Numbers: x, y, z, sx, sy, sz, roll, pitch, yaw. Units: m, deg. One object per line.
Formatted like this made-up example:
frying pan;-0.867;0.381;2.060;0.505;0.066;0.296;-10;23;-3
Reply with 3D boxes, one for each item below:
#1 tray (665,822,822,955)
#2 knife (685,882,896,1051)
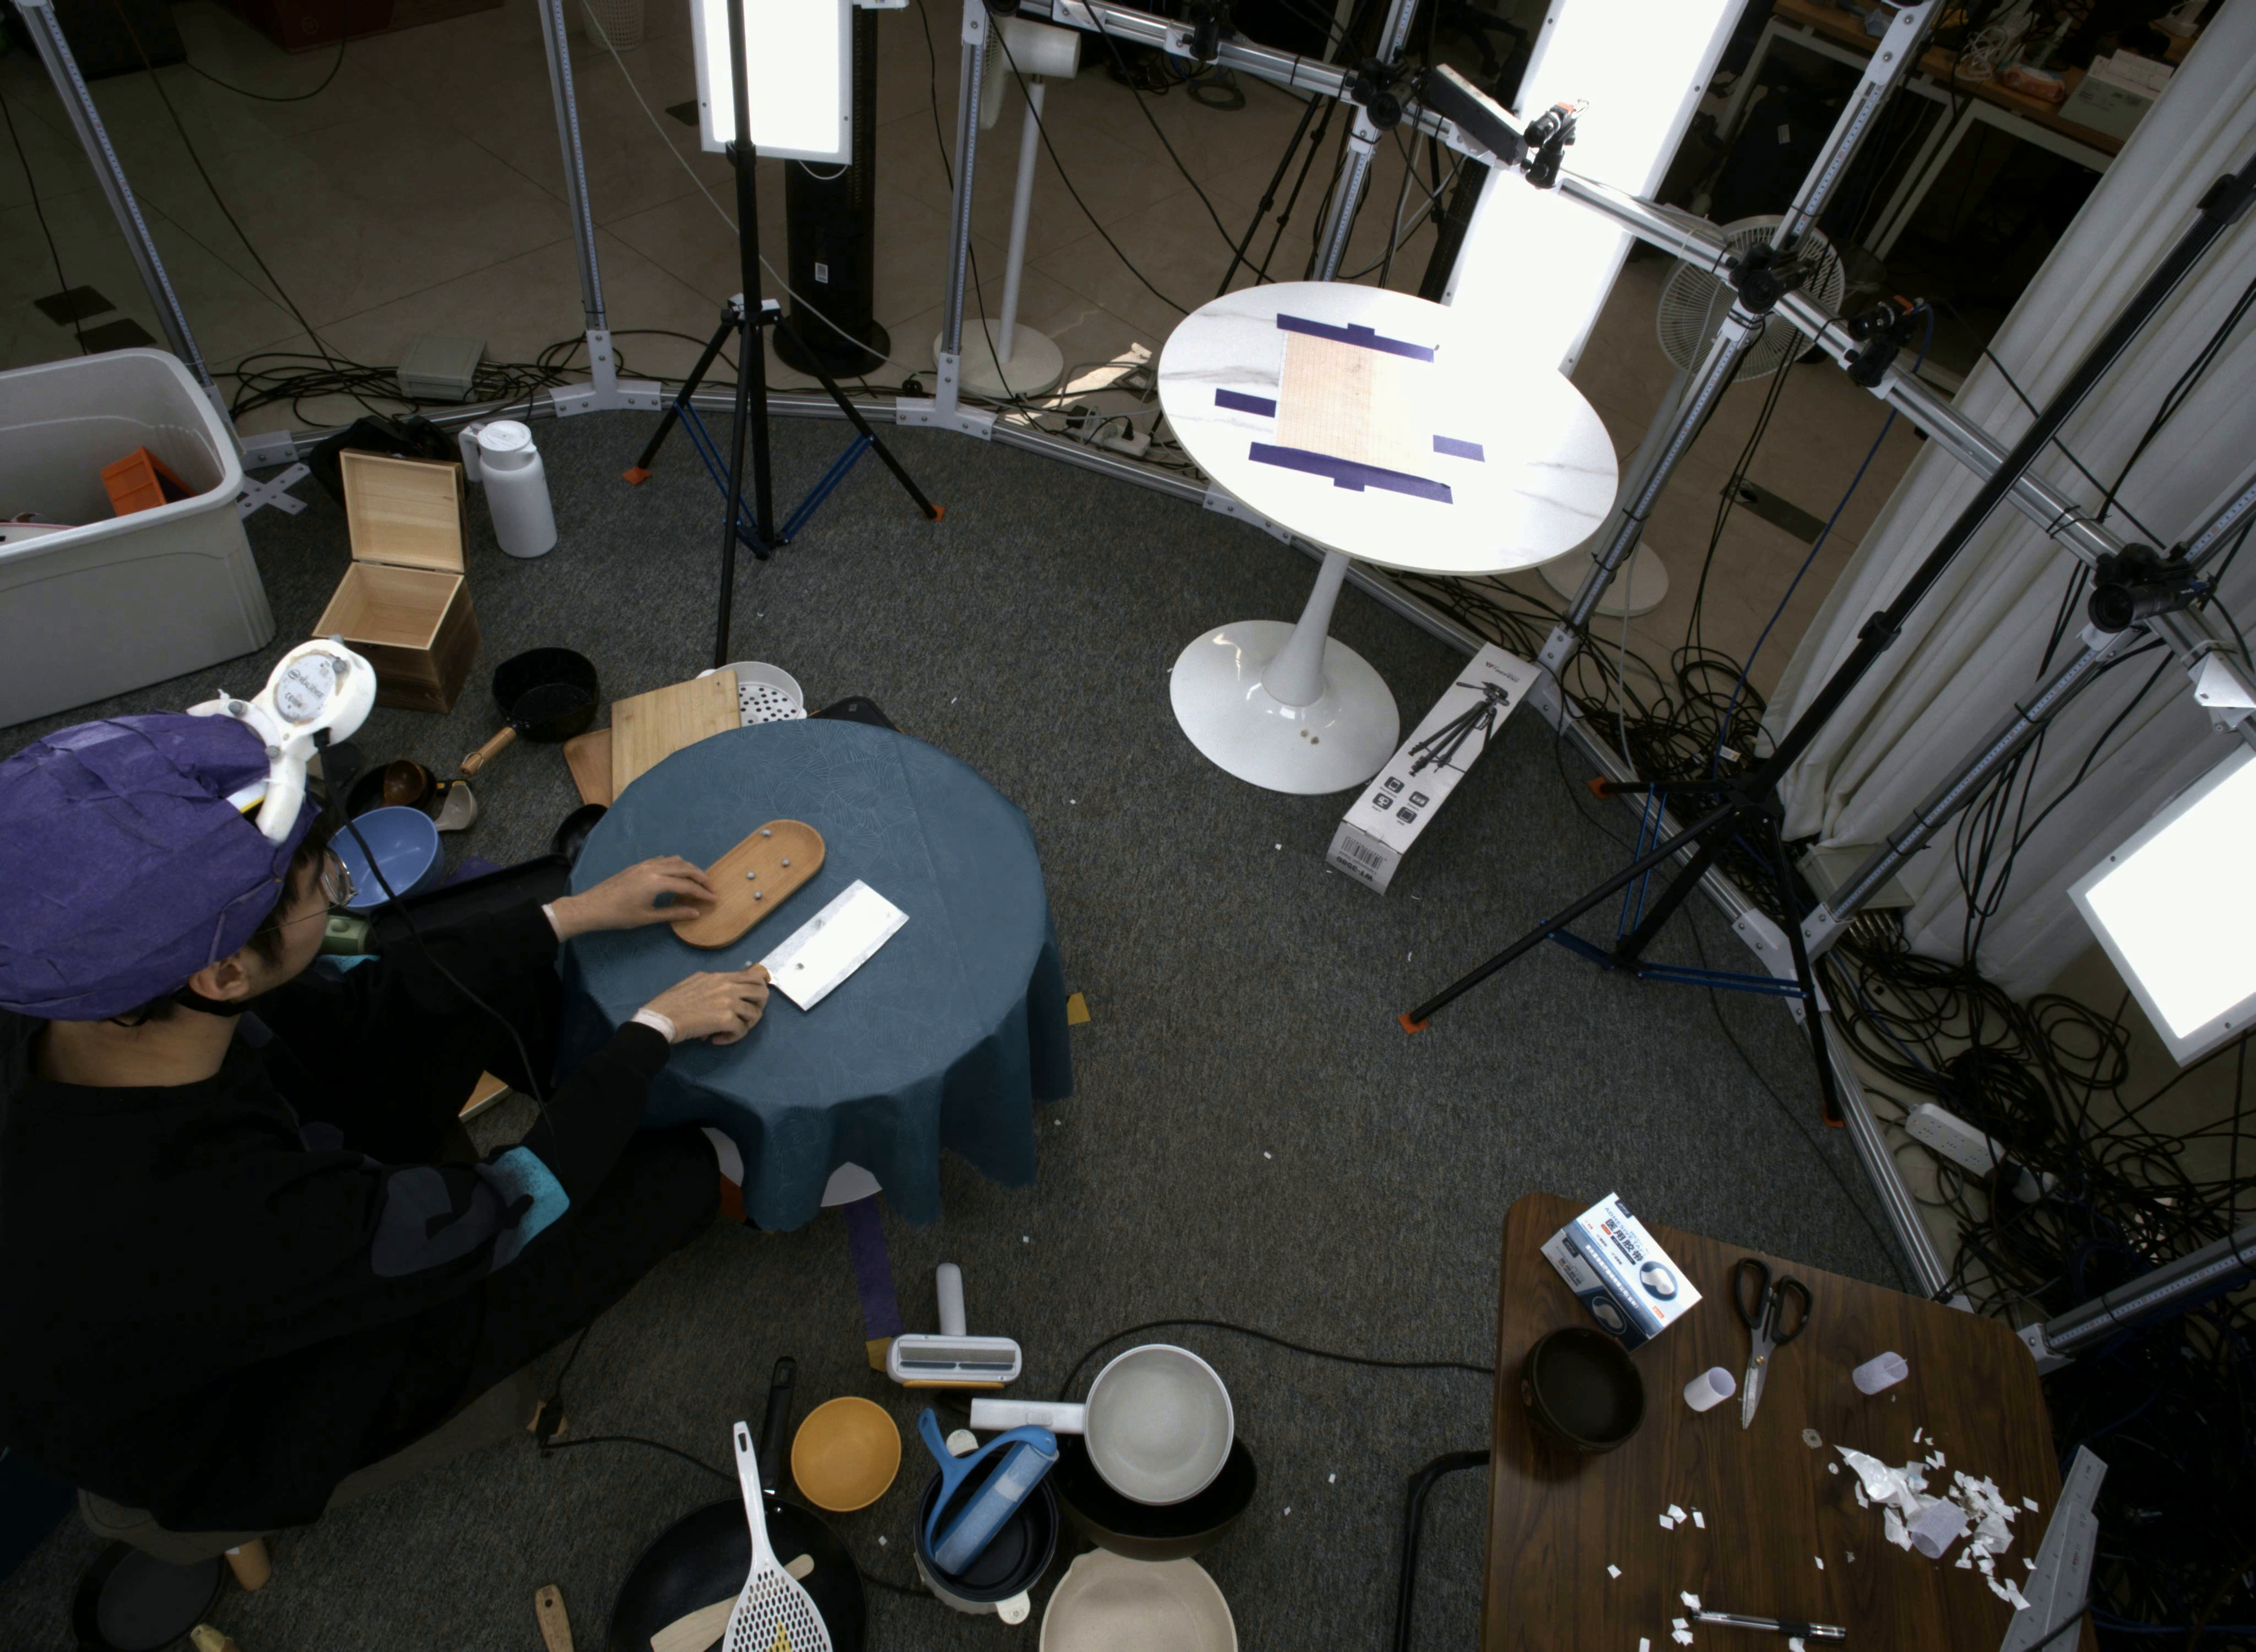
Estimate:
tray;-0.483;0.075;1.631;0.100;0.021;0.231;35;54;13
knife;-0.400;0.175;1.579;0.091;0.021;0.305;36;51;11
